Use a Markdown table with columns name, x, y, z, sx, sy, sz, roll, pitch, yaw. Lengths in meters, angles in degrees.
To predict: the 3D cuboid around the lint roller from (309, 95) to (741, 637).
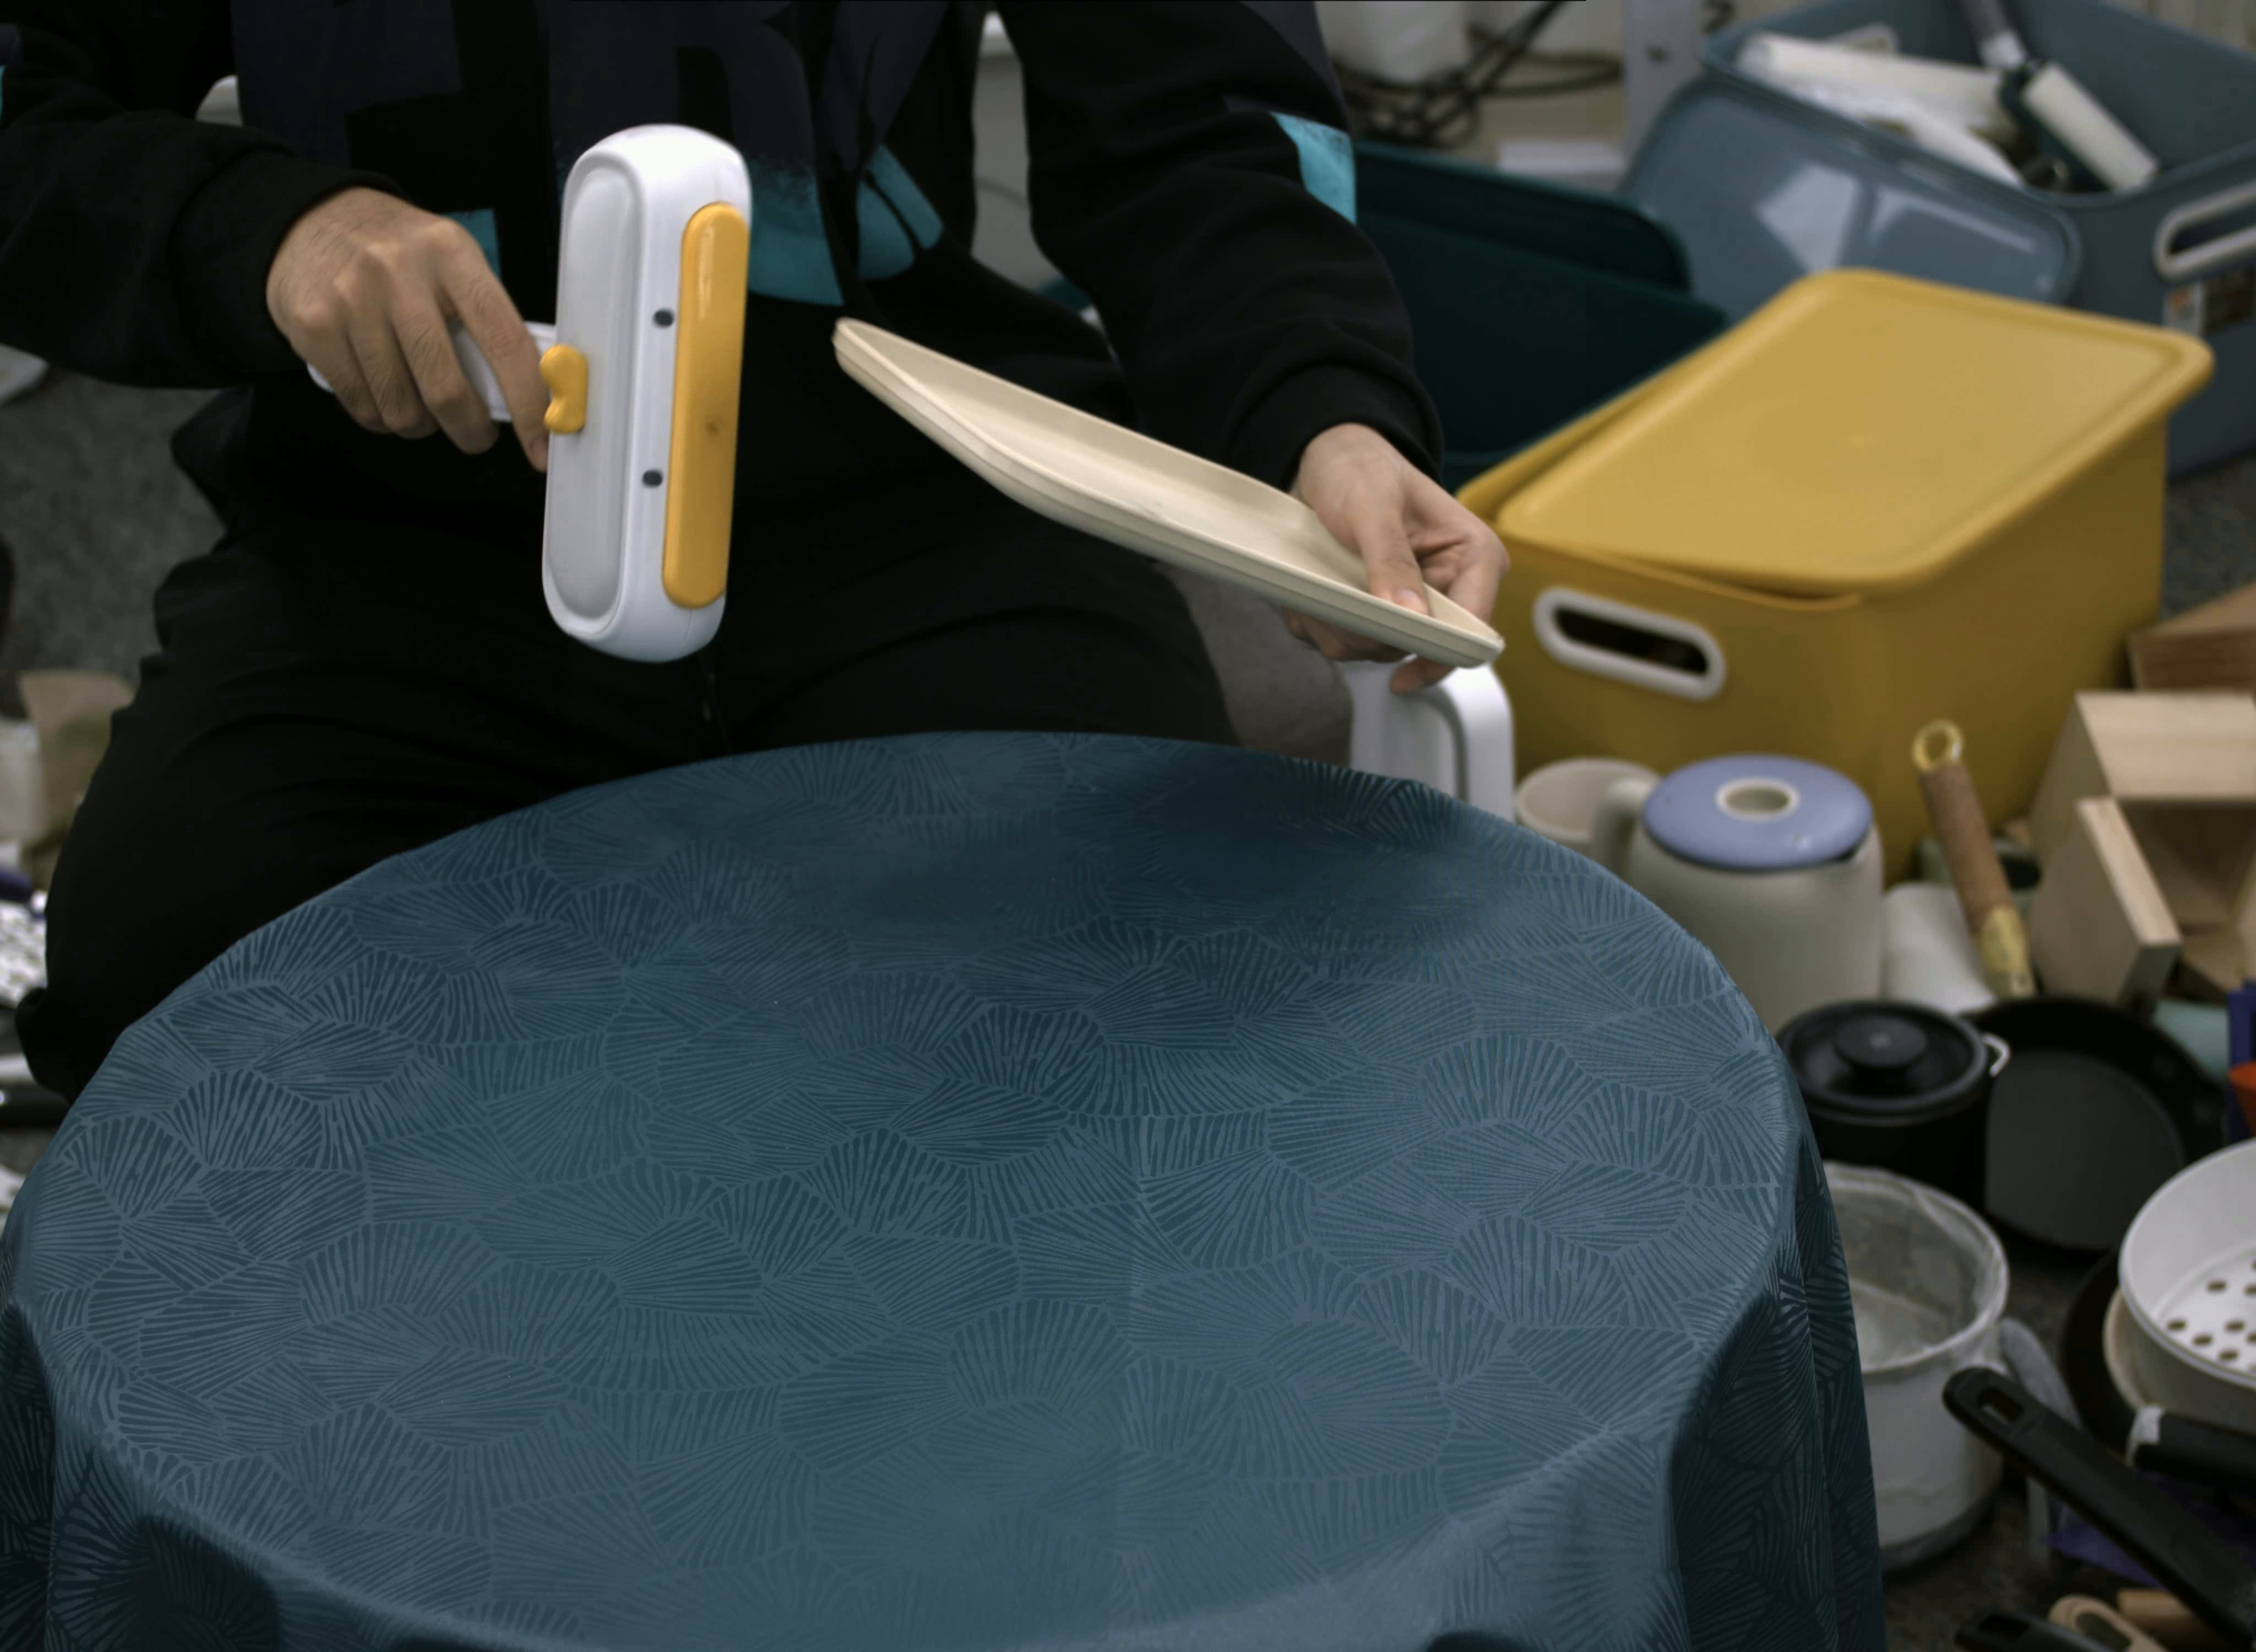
| name | x | y | z | sx | sy | sz | roll | pitch | yaw |
| --- | --- | --- | --- | --- | --- | --- | --- | --- | --- |
| lint roller | -0.218 | -0.169 | 2.055 | 0.191 | 0.193 | 0.075 | 7 | 11 | 43 |

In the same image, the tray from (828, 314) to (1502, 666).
| name | x | y | z | sx | sy | sz | roll | pitch | yaw |
| --- | --- | --- | --- | --- | --- | --- | --- | --- | --- |
| tray | 0.012 | -0.118 | 2.015 | 0.239 | 0.017 | 0.172 | 20 | 11 | -36 |
